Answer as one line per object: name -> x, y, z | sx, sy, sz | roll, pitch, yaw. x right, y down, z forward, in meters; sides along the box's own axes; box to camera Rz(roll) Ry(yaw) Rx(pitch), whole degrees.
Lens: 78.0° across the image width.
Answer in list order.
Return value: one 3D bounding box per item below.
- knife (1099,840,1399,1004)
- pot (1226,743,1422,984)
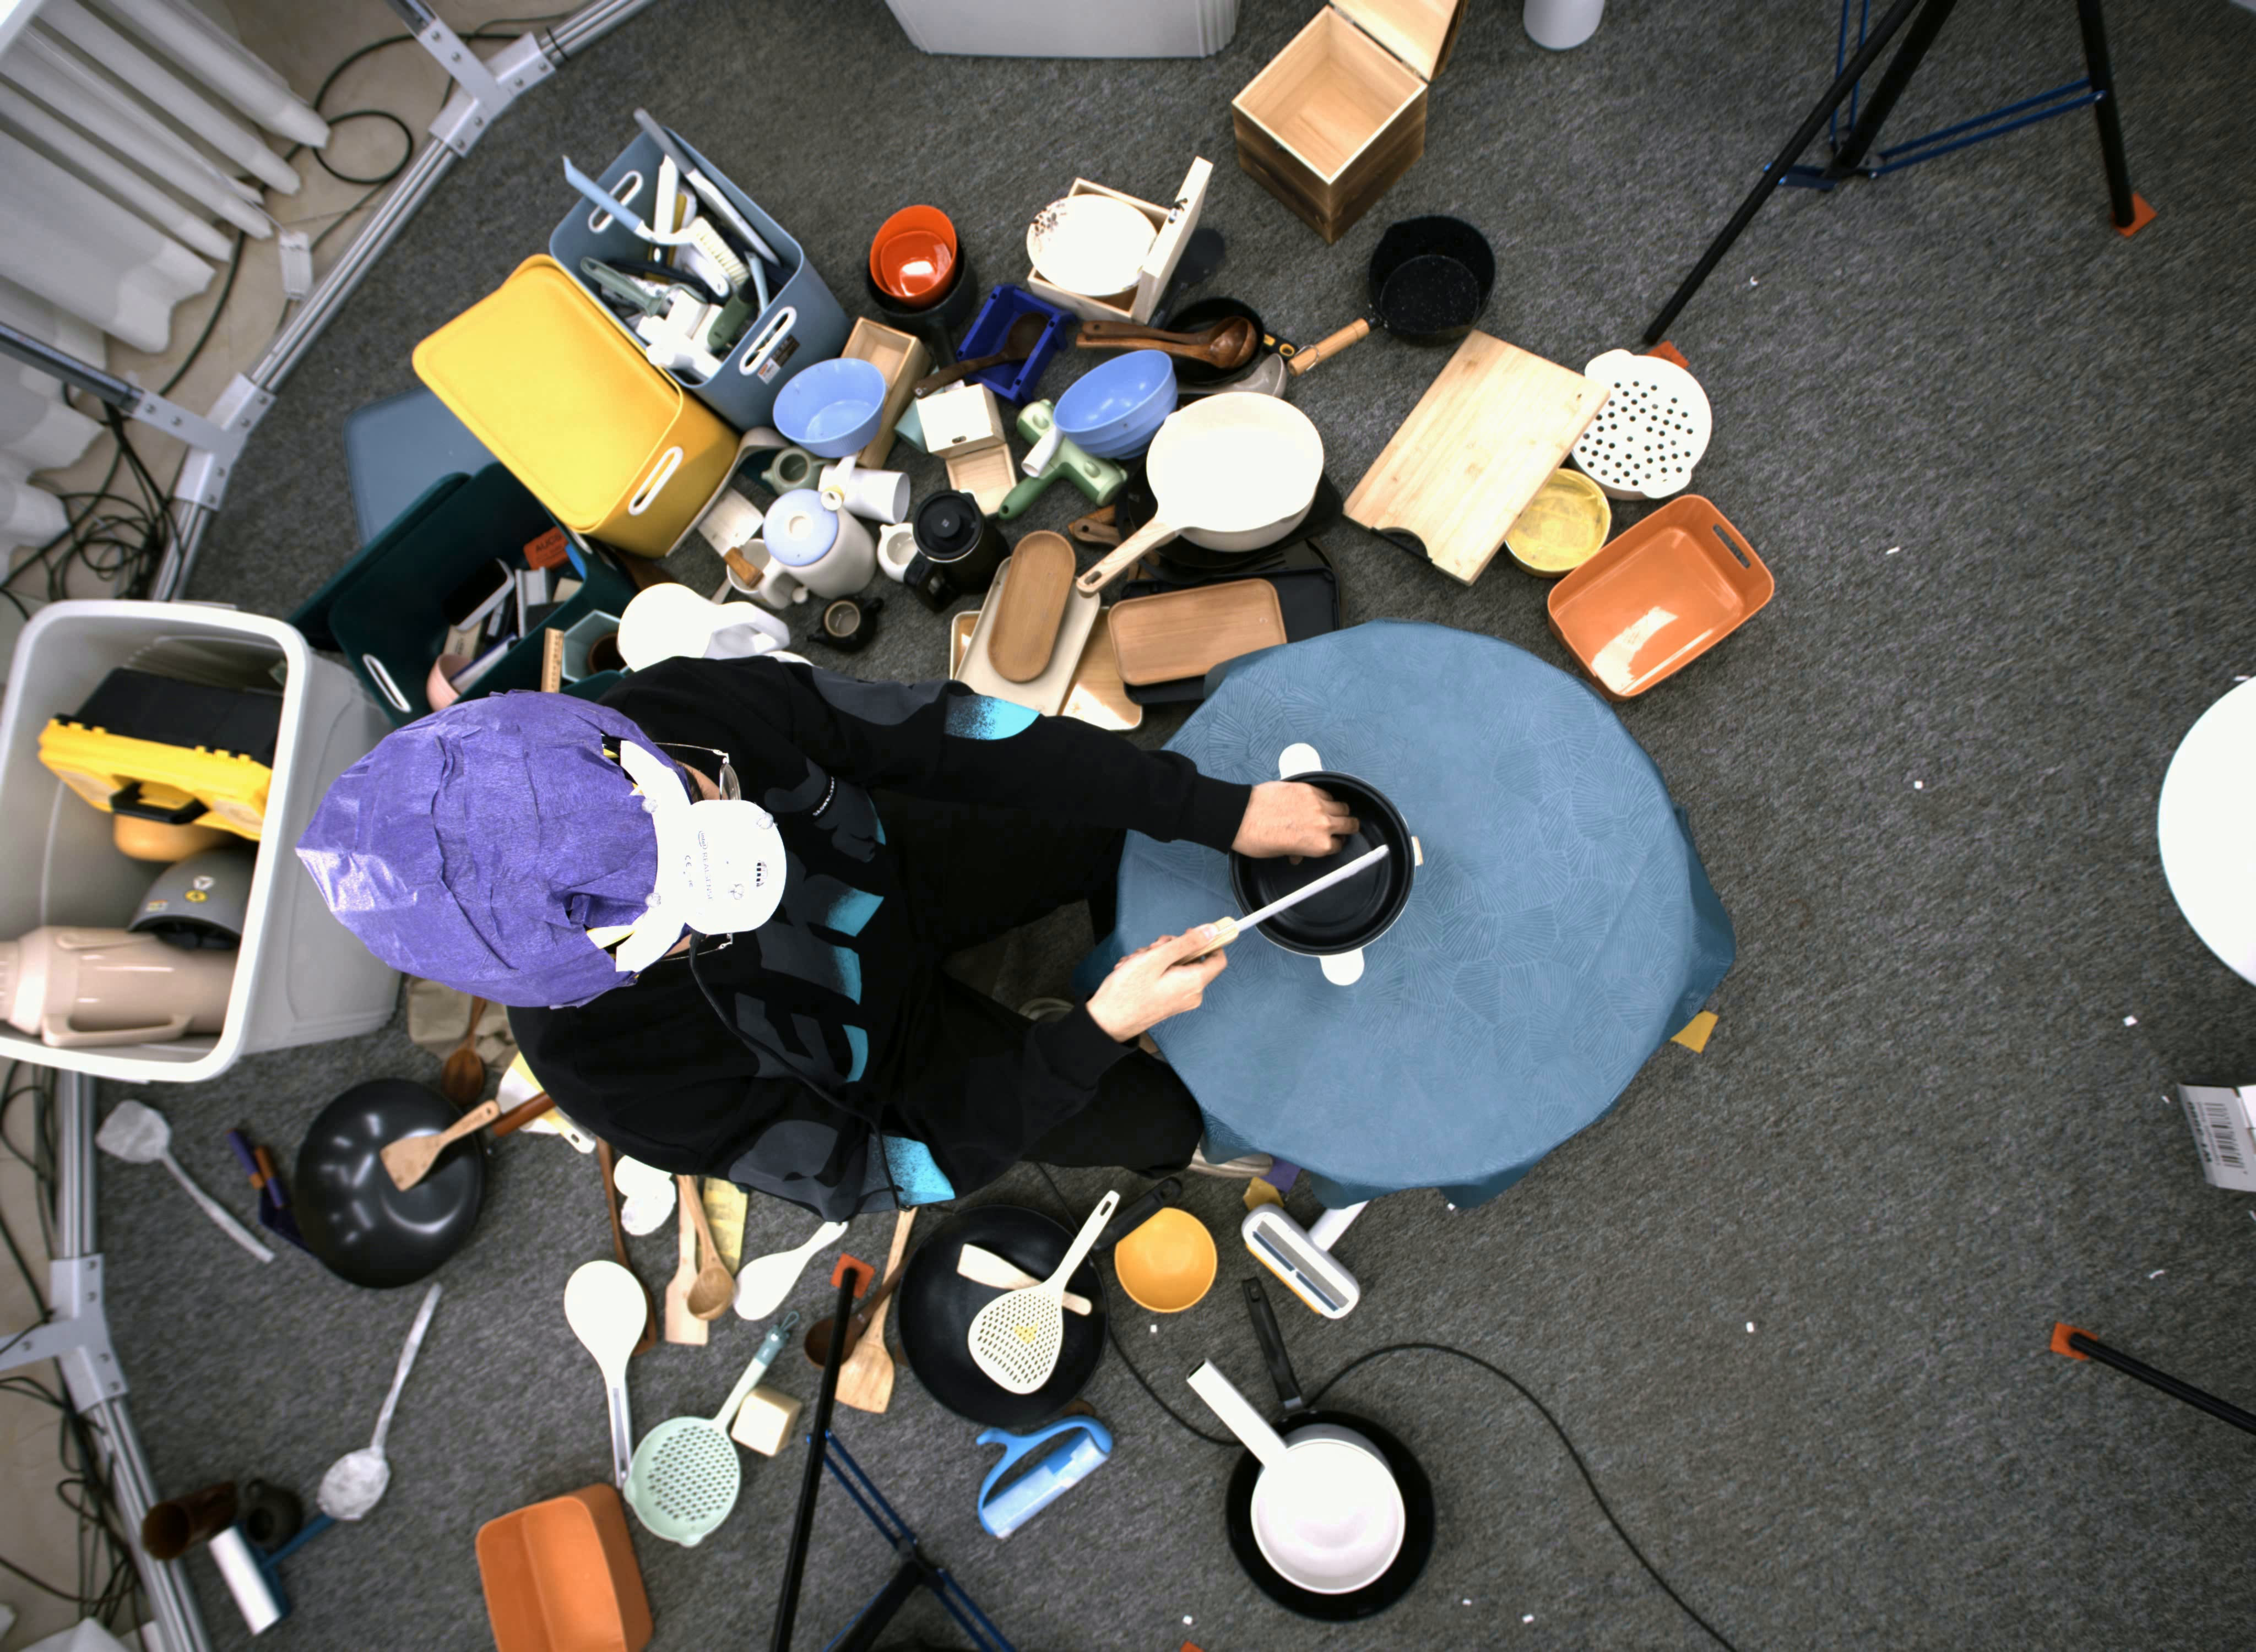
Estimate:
knife -> 0.116, 0.084, 1.274 | 0.314, 0.115, 0.021 | -26, 79, -6
pot -> 0.202, 0.038, 1.404 | 0.192, 0.142, 0.239 | -13, 85, 12
